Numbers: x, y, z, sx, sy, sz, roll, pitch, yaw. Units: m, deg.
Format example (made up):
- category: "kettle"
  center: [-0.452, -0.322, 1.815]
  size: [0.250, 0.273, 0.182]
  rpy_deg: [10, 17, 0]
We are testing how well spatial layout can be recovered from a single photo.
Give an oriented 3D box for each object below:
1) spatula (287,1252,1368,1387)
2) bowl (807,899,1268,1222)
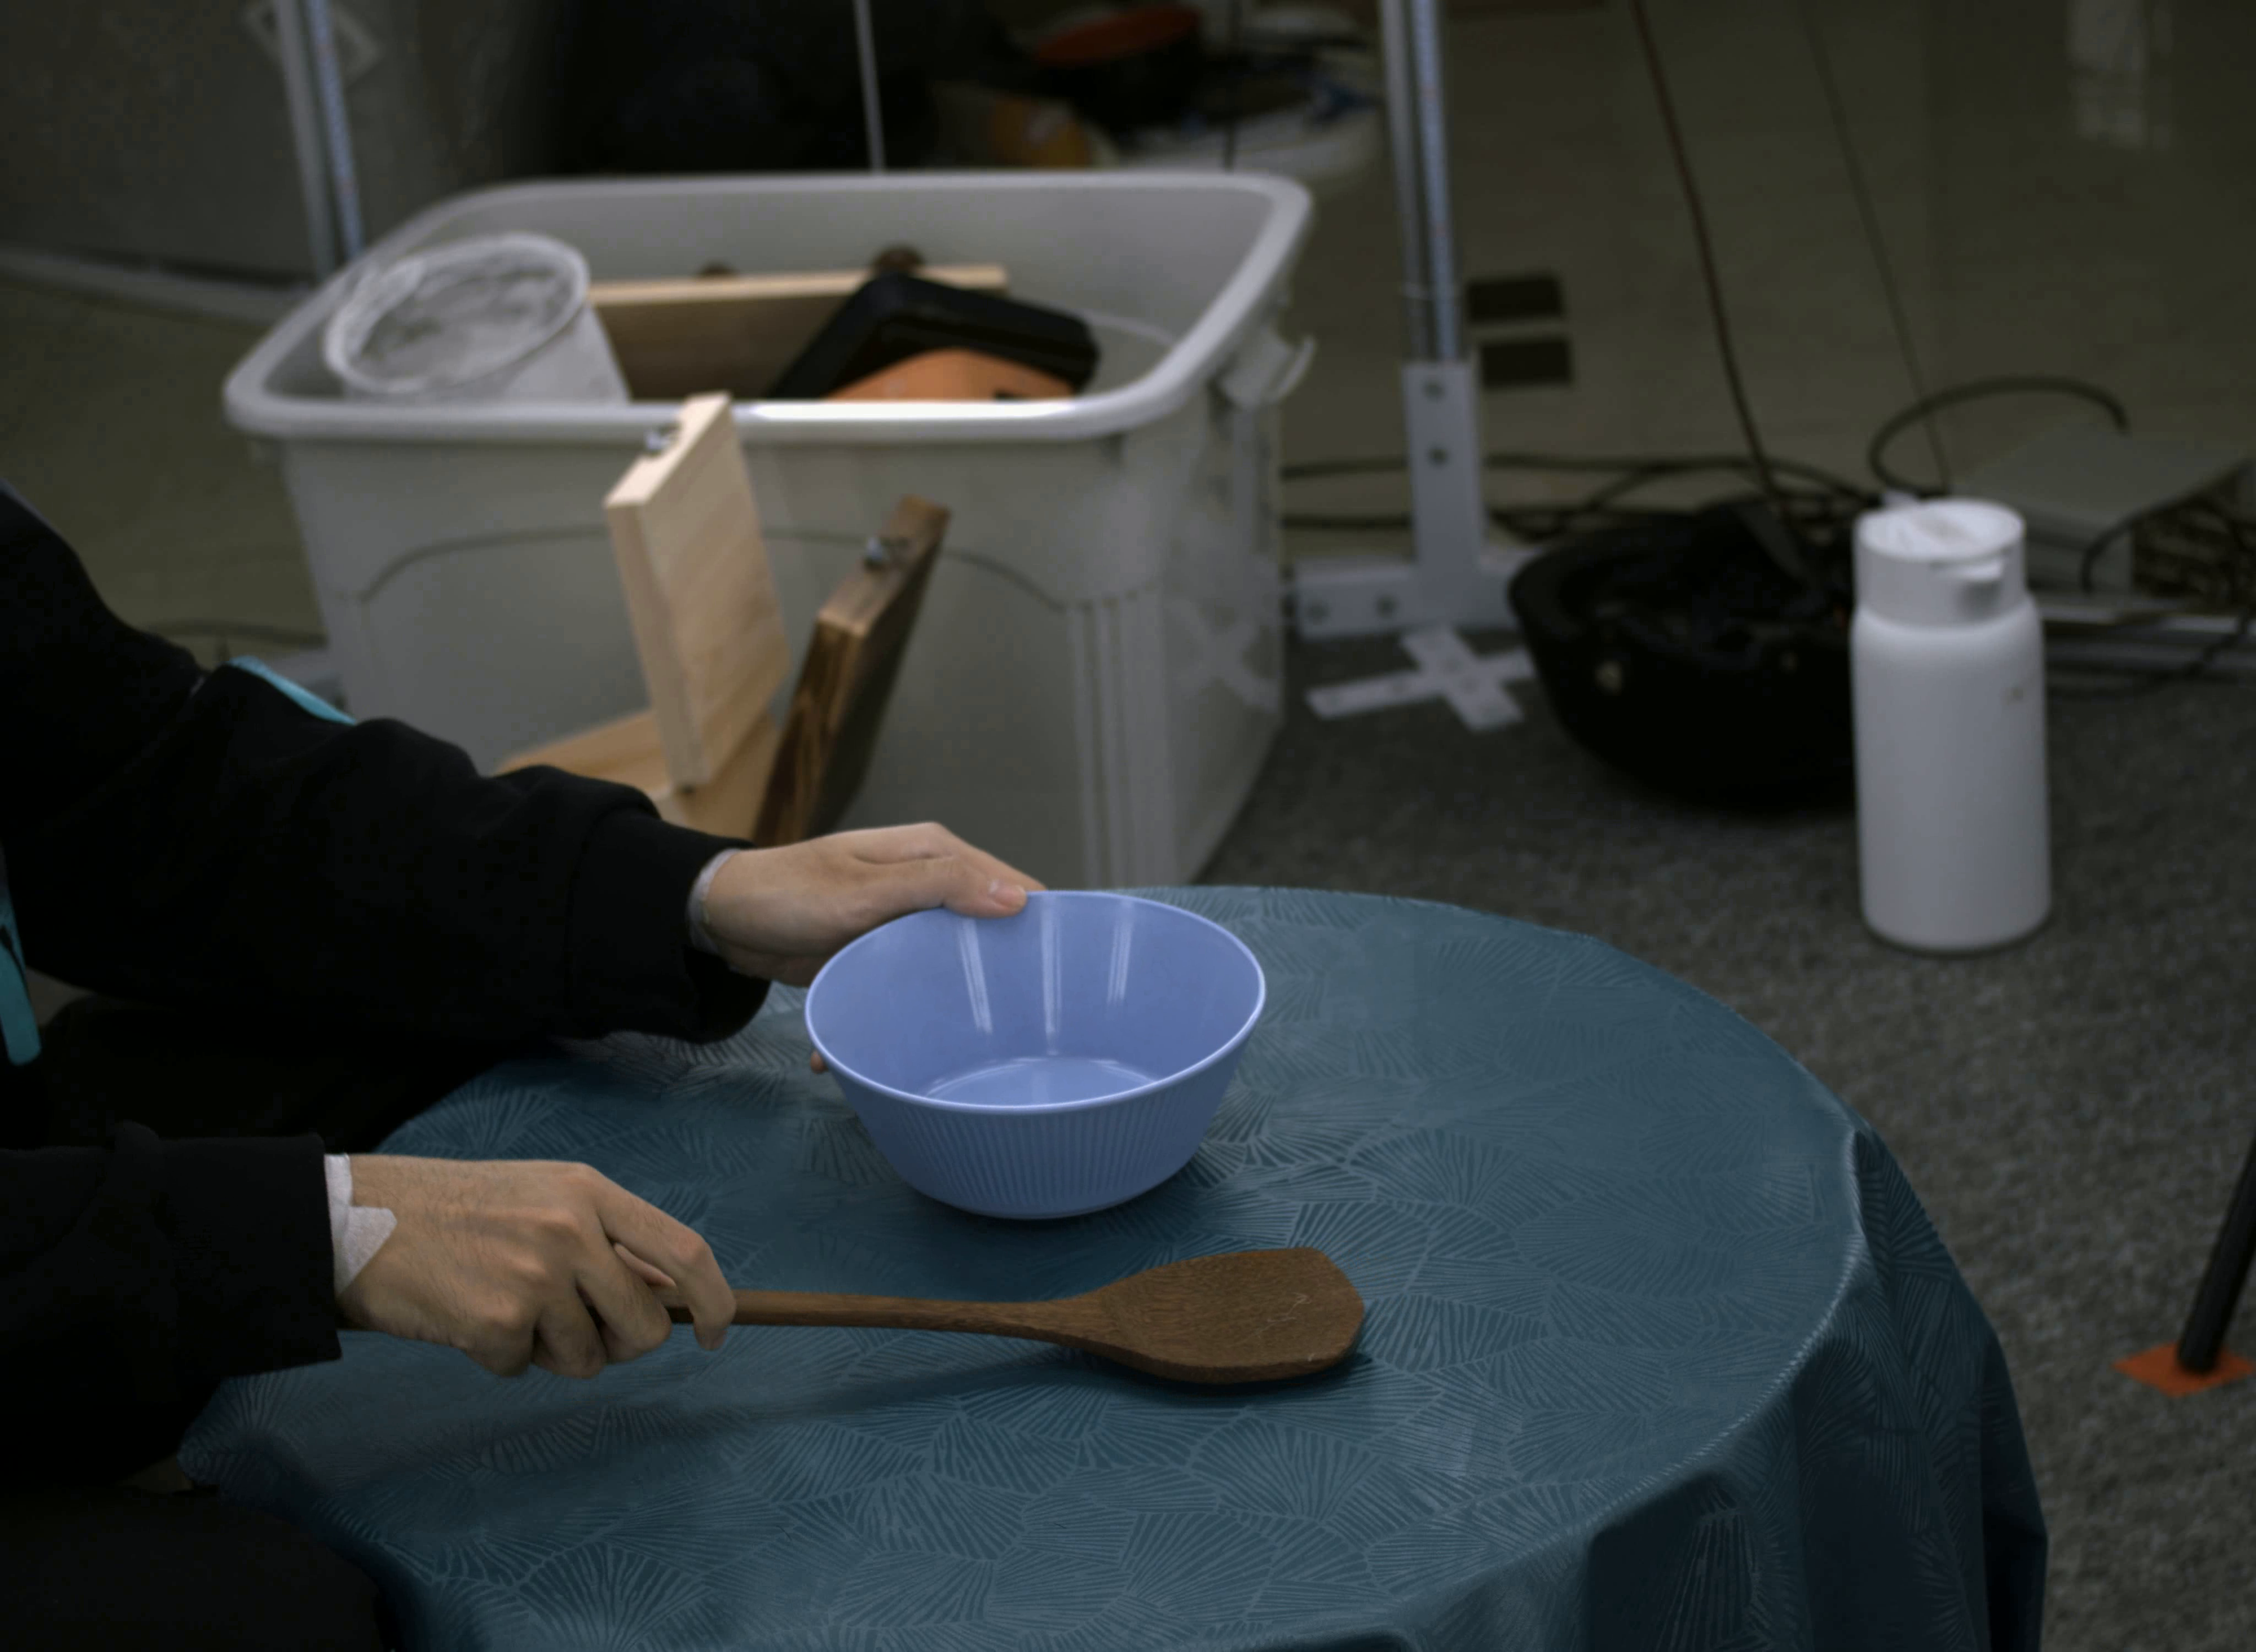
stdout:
- category: "spatula"
  center: [-0.106, 0.175, 2.027]
  size: [0.385, 0.016, 0.095]
  rpy_deg: [1, 22, -6]
- category: "bowl"
  center: [-0.032, 0.095, 2.160]
  size: [0.176, 0.071, 0.173]
  rpy_deg: [-3, 26, 2]
